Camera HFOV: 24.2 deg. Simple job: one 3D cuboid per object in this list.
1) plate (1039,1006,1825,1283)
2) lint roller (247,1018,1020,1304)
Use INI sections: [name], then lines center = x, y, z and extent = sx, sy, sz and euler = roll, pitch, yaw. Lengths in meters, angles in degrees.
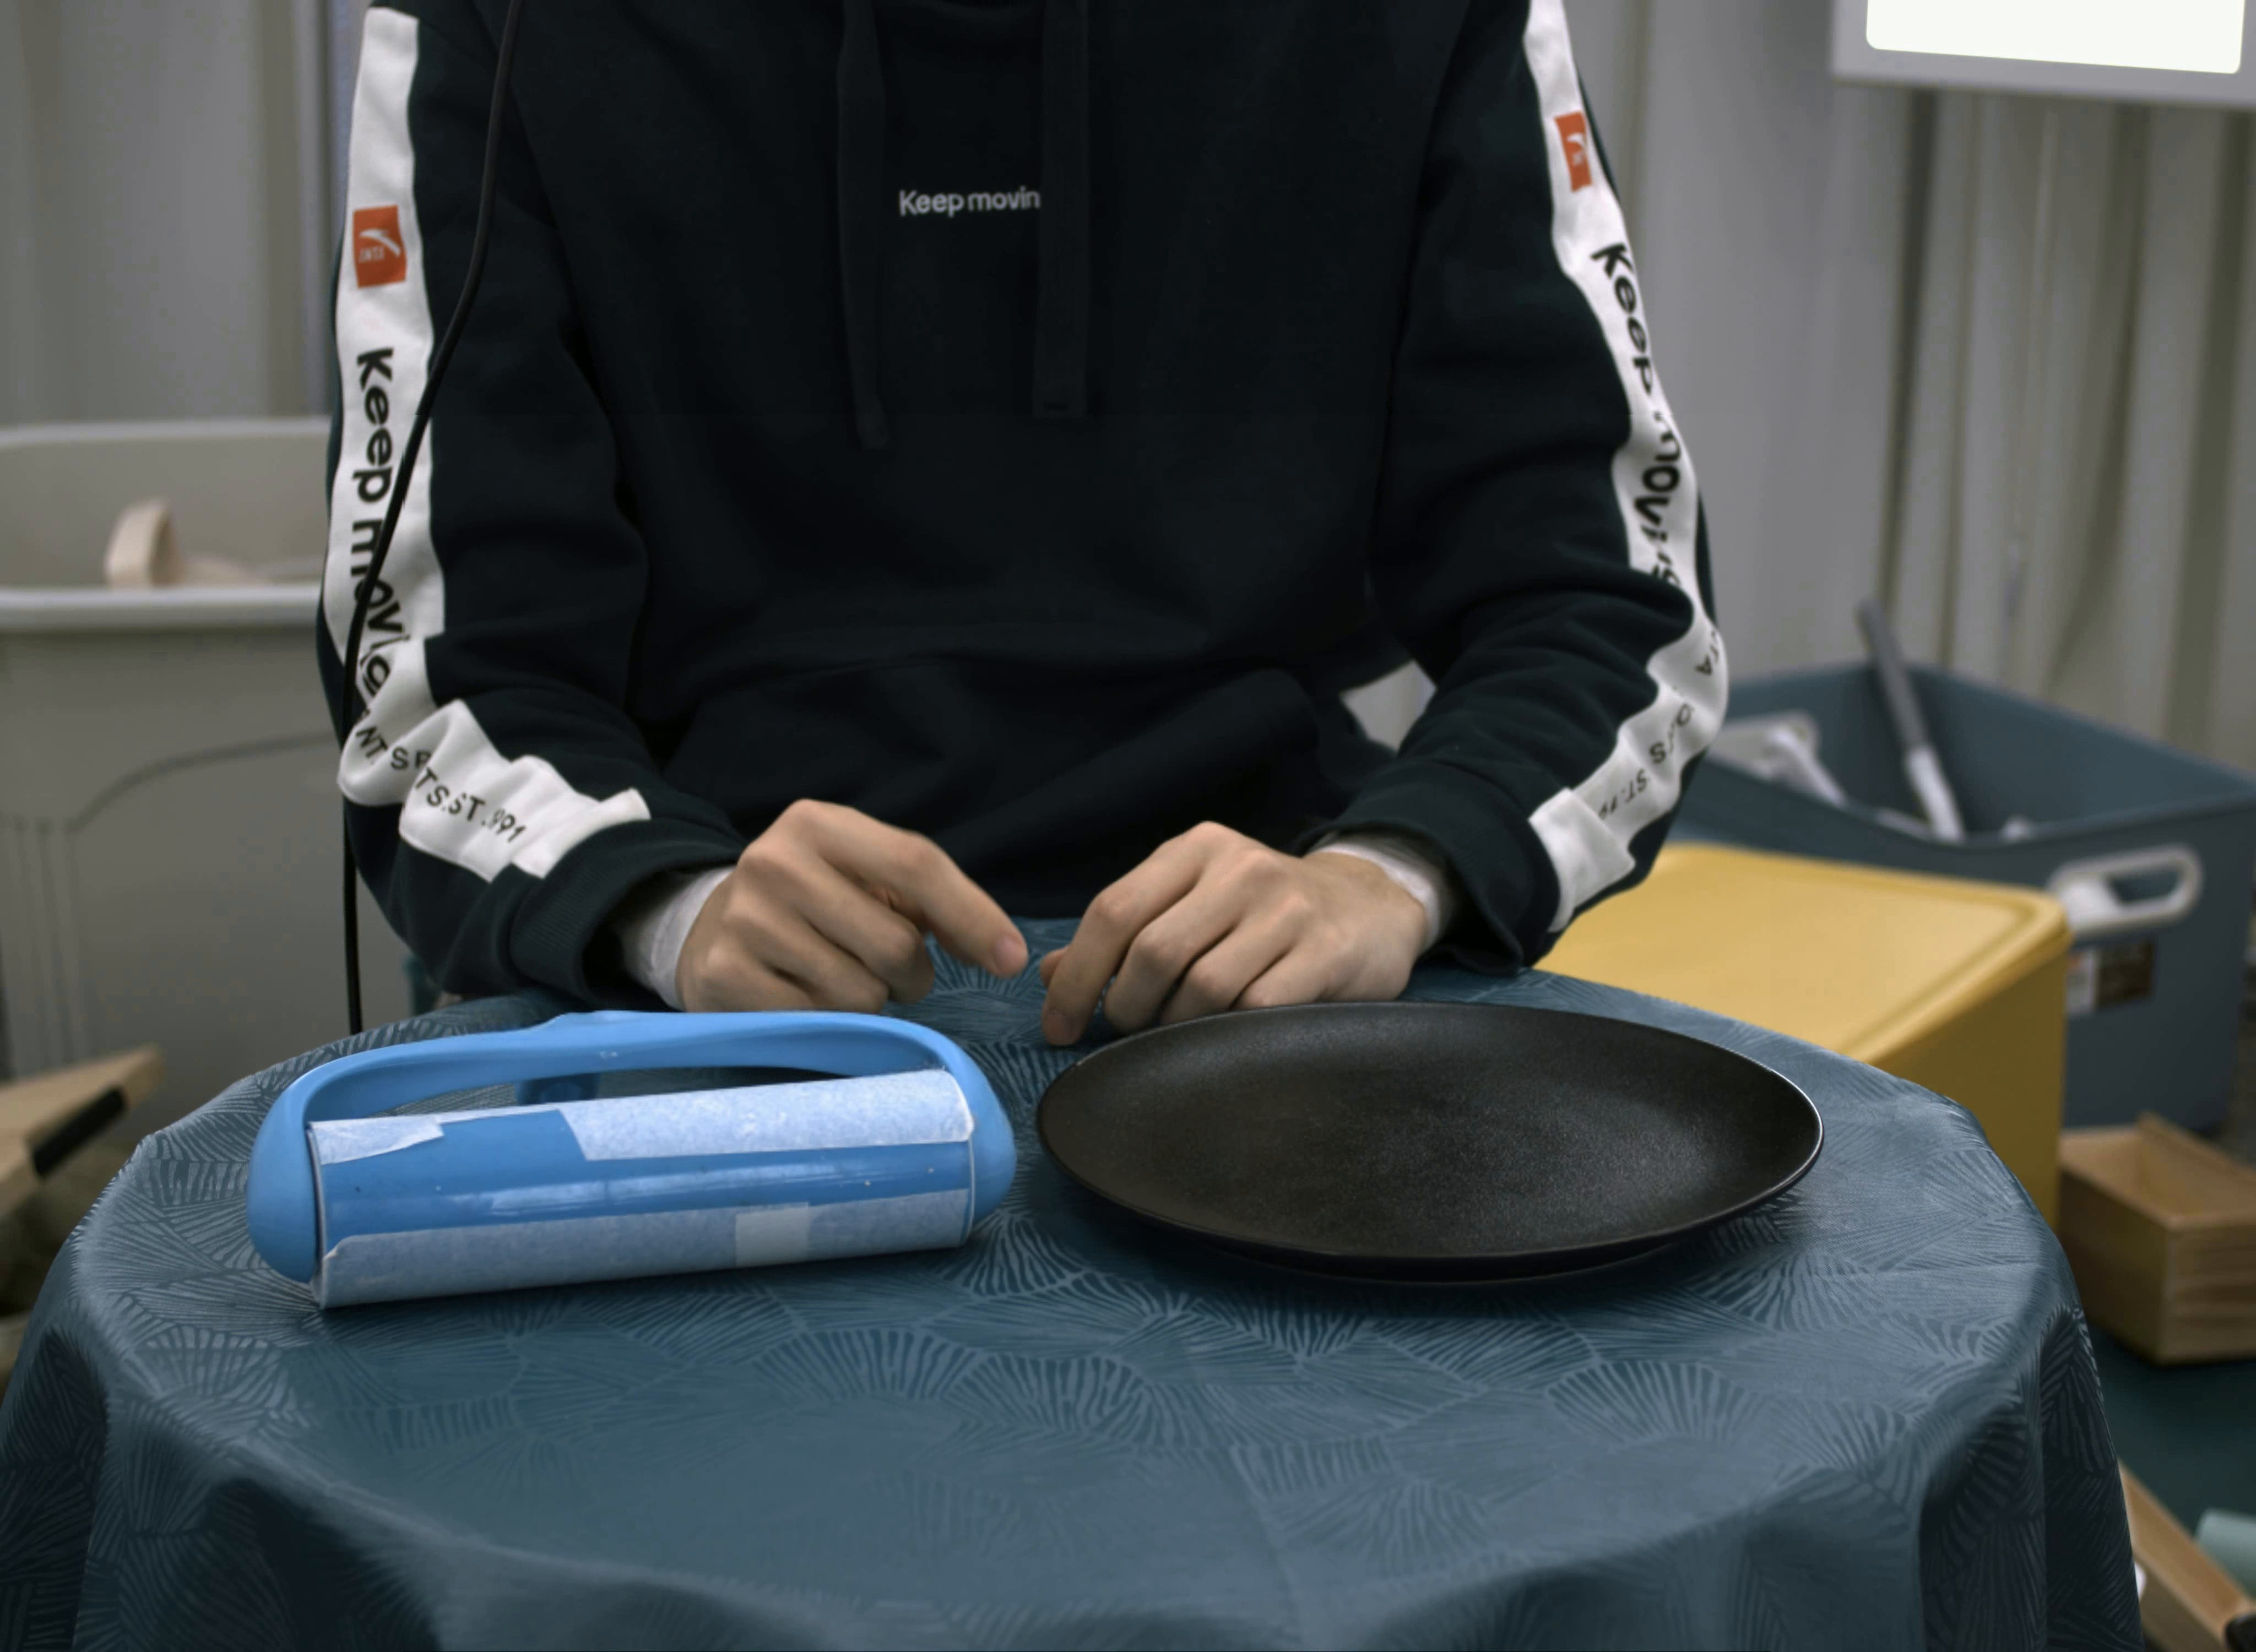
[plate]
center = 0.094, 0.100, 1.625
extent = 0.243, 0.023, 0.243
euler = 0, 15, 0
[lint roller]
center = -0.162, 0.090, 1.591
extent = 0.229, 0.068, 0.178
euler = -5, 15, -19
